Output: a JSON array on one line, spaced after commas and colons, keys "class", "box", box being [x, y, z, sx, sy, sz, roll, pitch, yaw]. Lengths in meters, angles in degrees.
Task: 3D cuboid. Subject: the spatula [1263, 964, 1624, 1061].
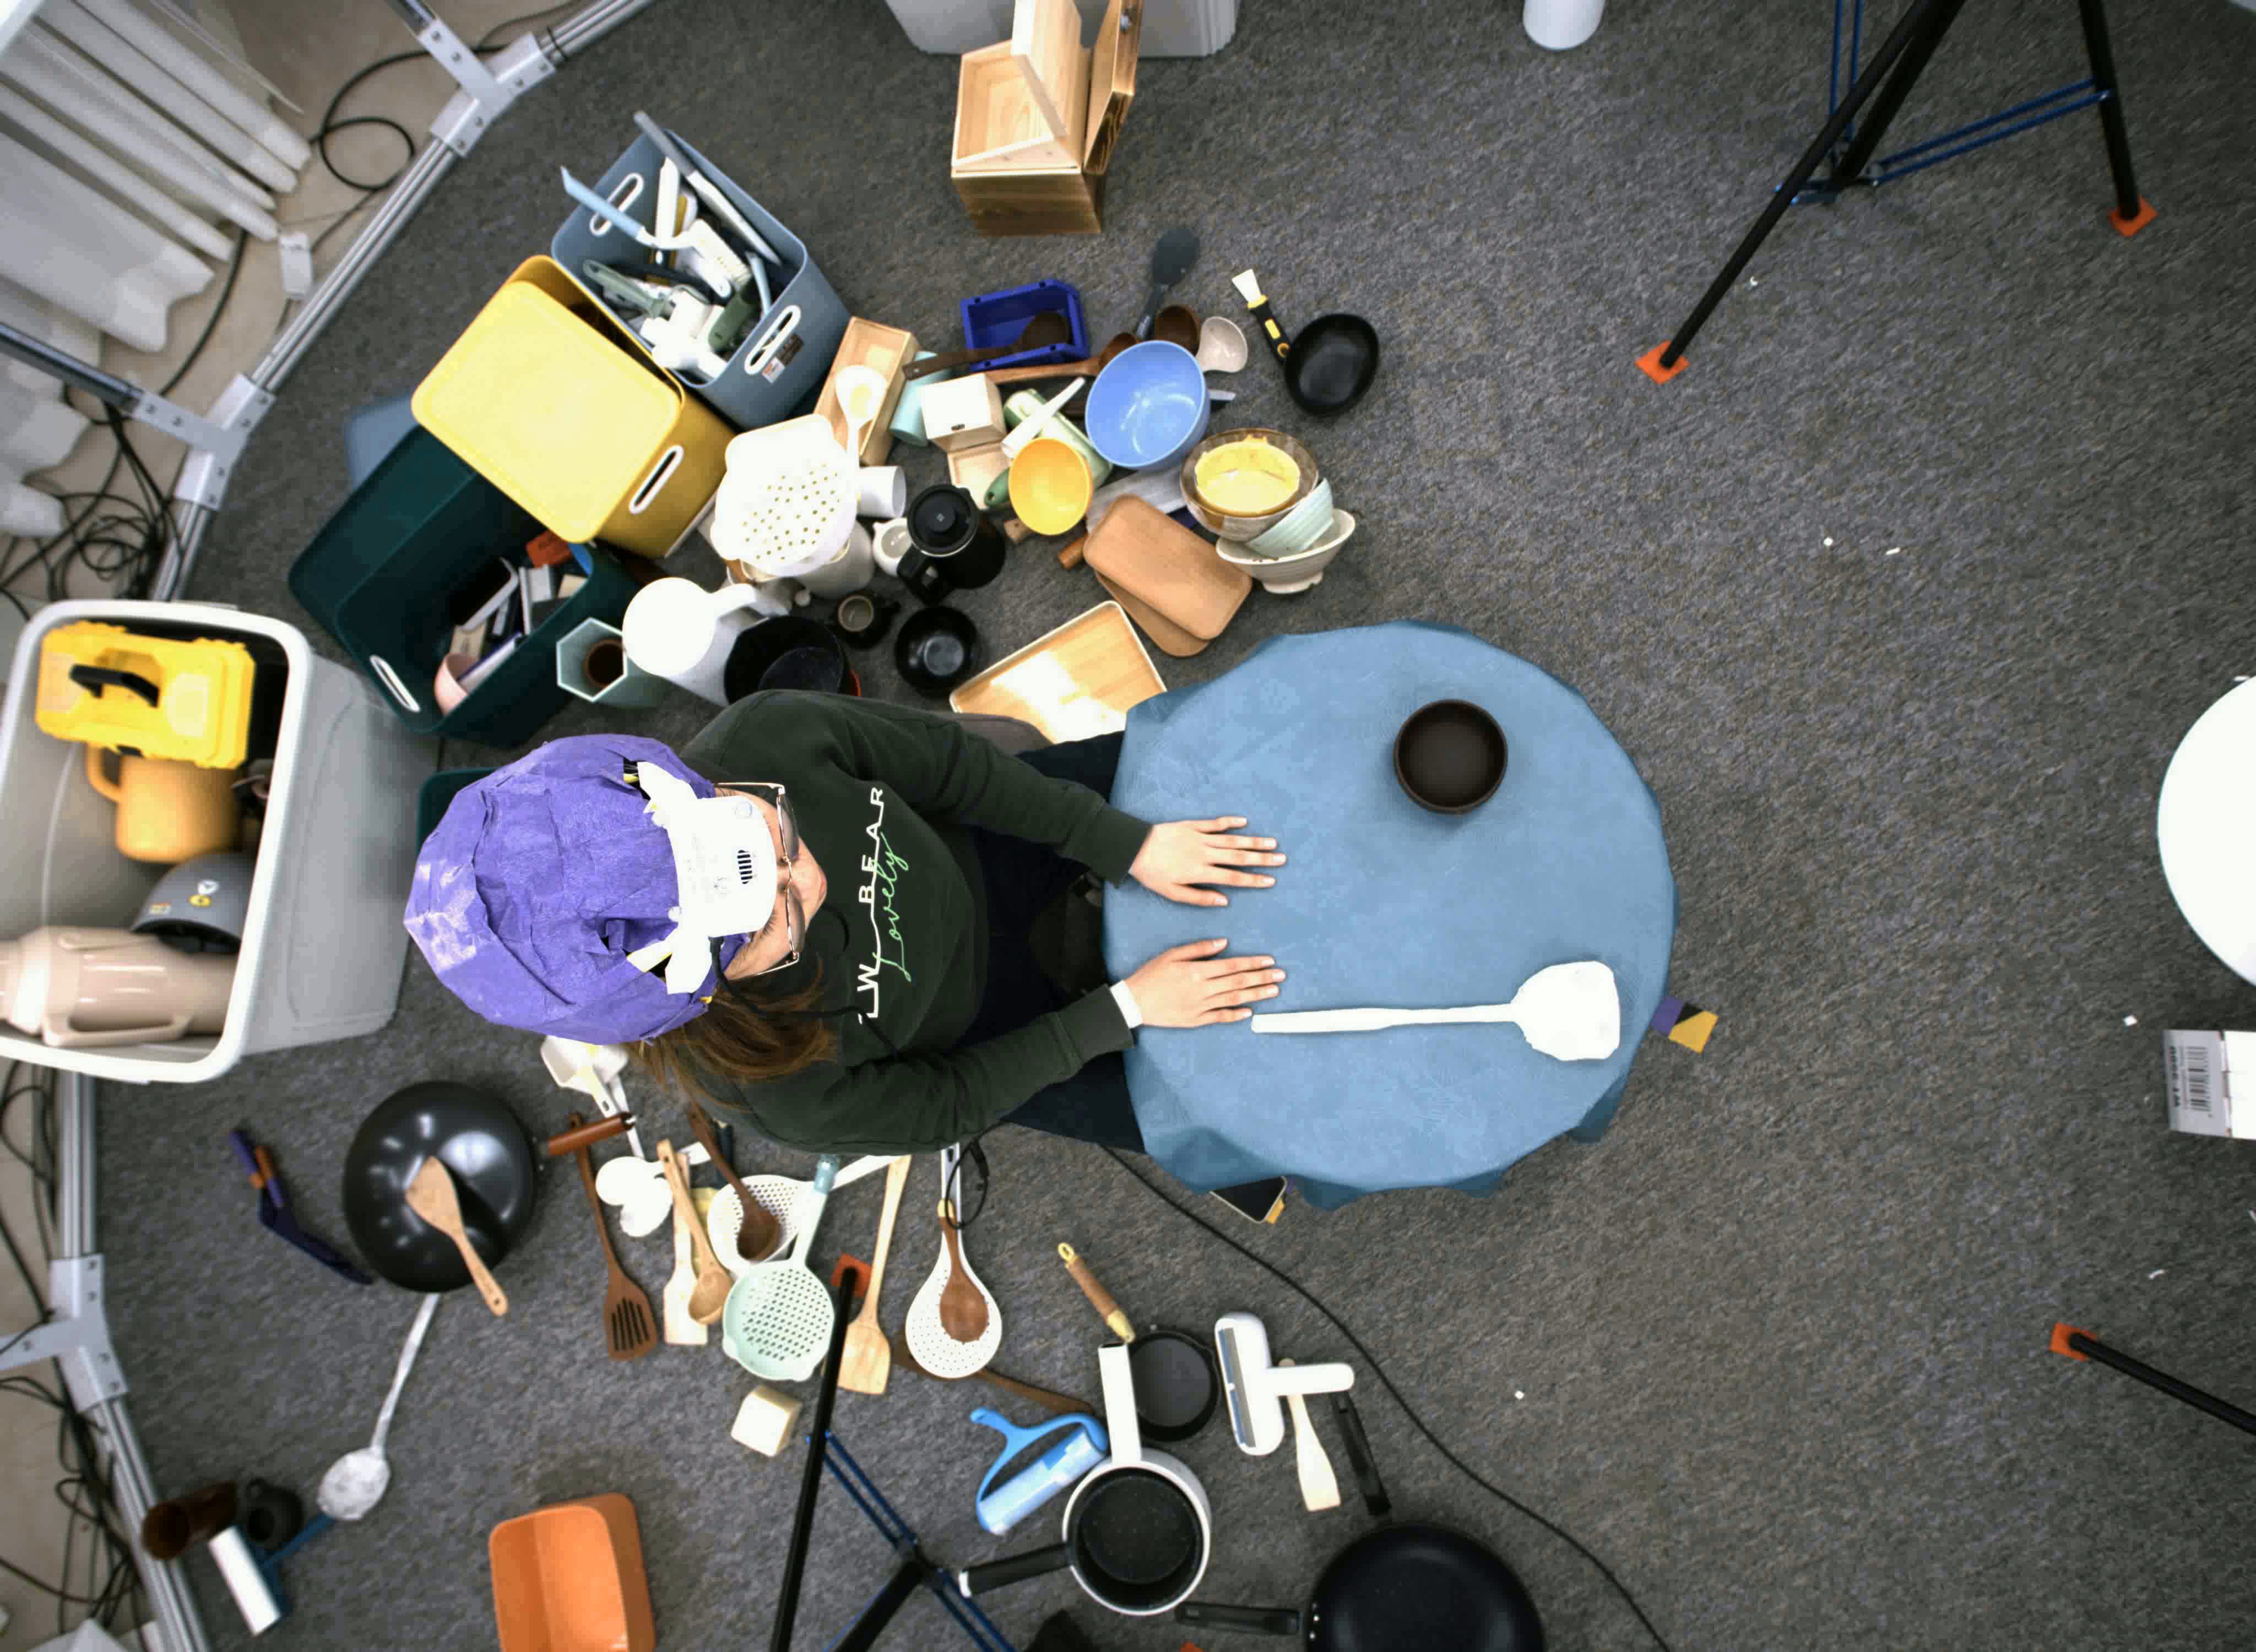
[{"class": "spatula", "box": [0.321, 0.193, 1.427, 0.366, 0.045, 0.098, -3, 87, 10]}]

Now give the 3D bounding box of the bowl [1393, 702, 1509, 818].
[{"class": "bowl", "box": [0.335, -0.067, 1.426, 0.118, 0.070, 0.117, -1, 84, 12]}]
